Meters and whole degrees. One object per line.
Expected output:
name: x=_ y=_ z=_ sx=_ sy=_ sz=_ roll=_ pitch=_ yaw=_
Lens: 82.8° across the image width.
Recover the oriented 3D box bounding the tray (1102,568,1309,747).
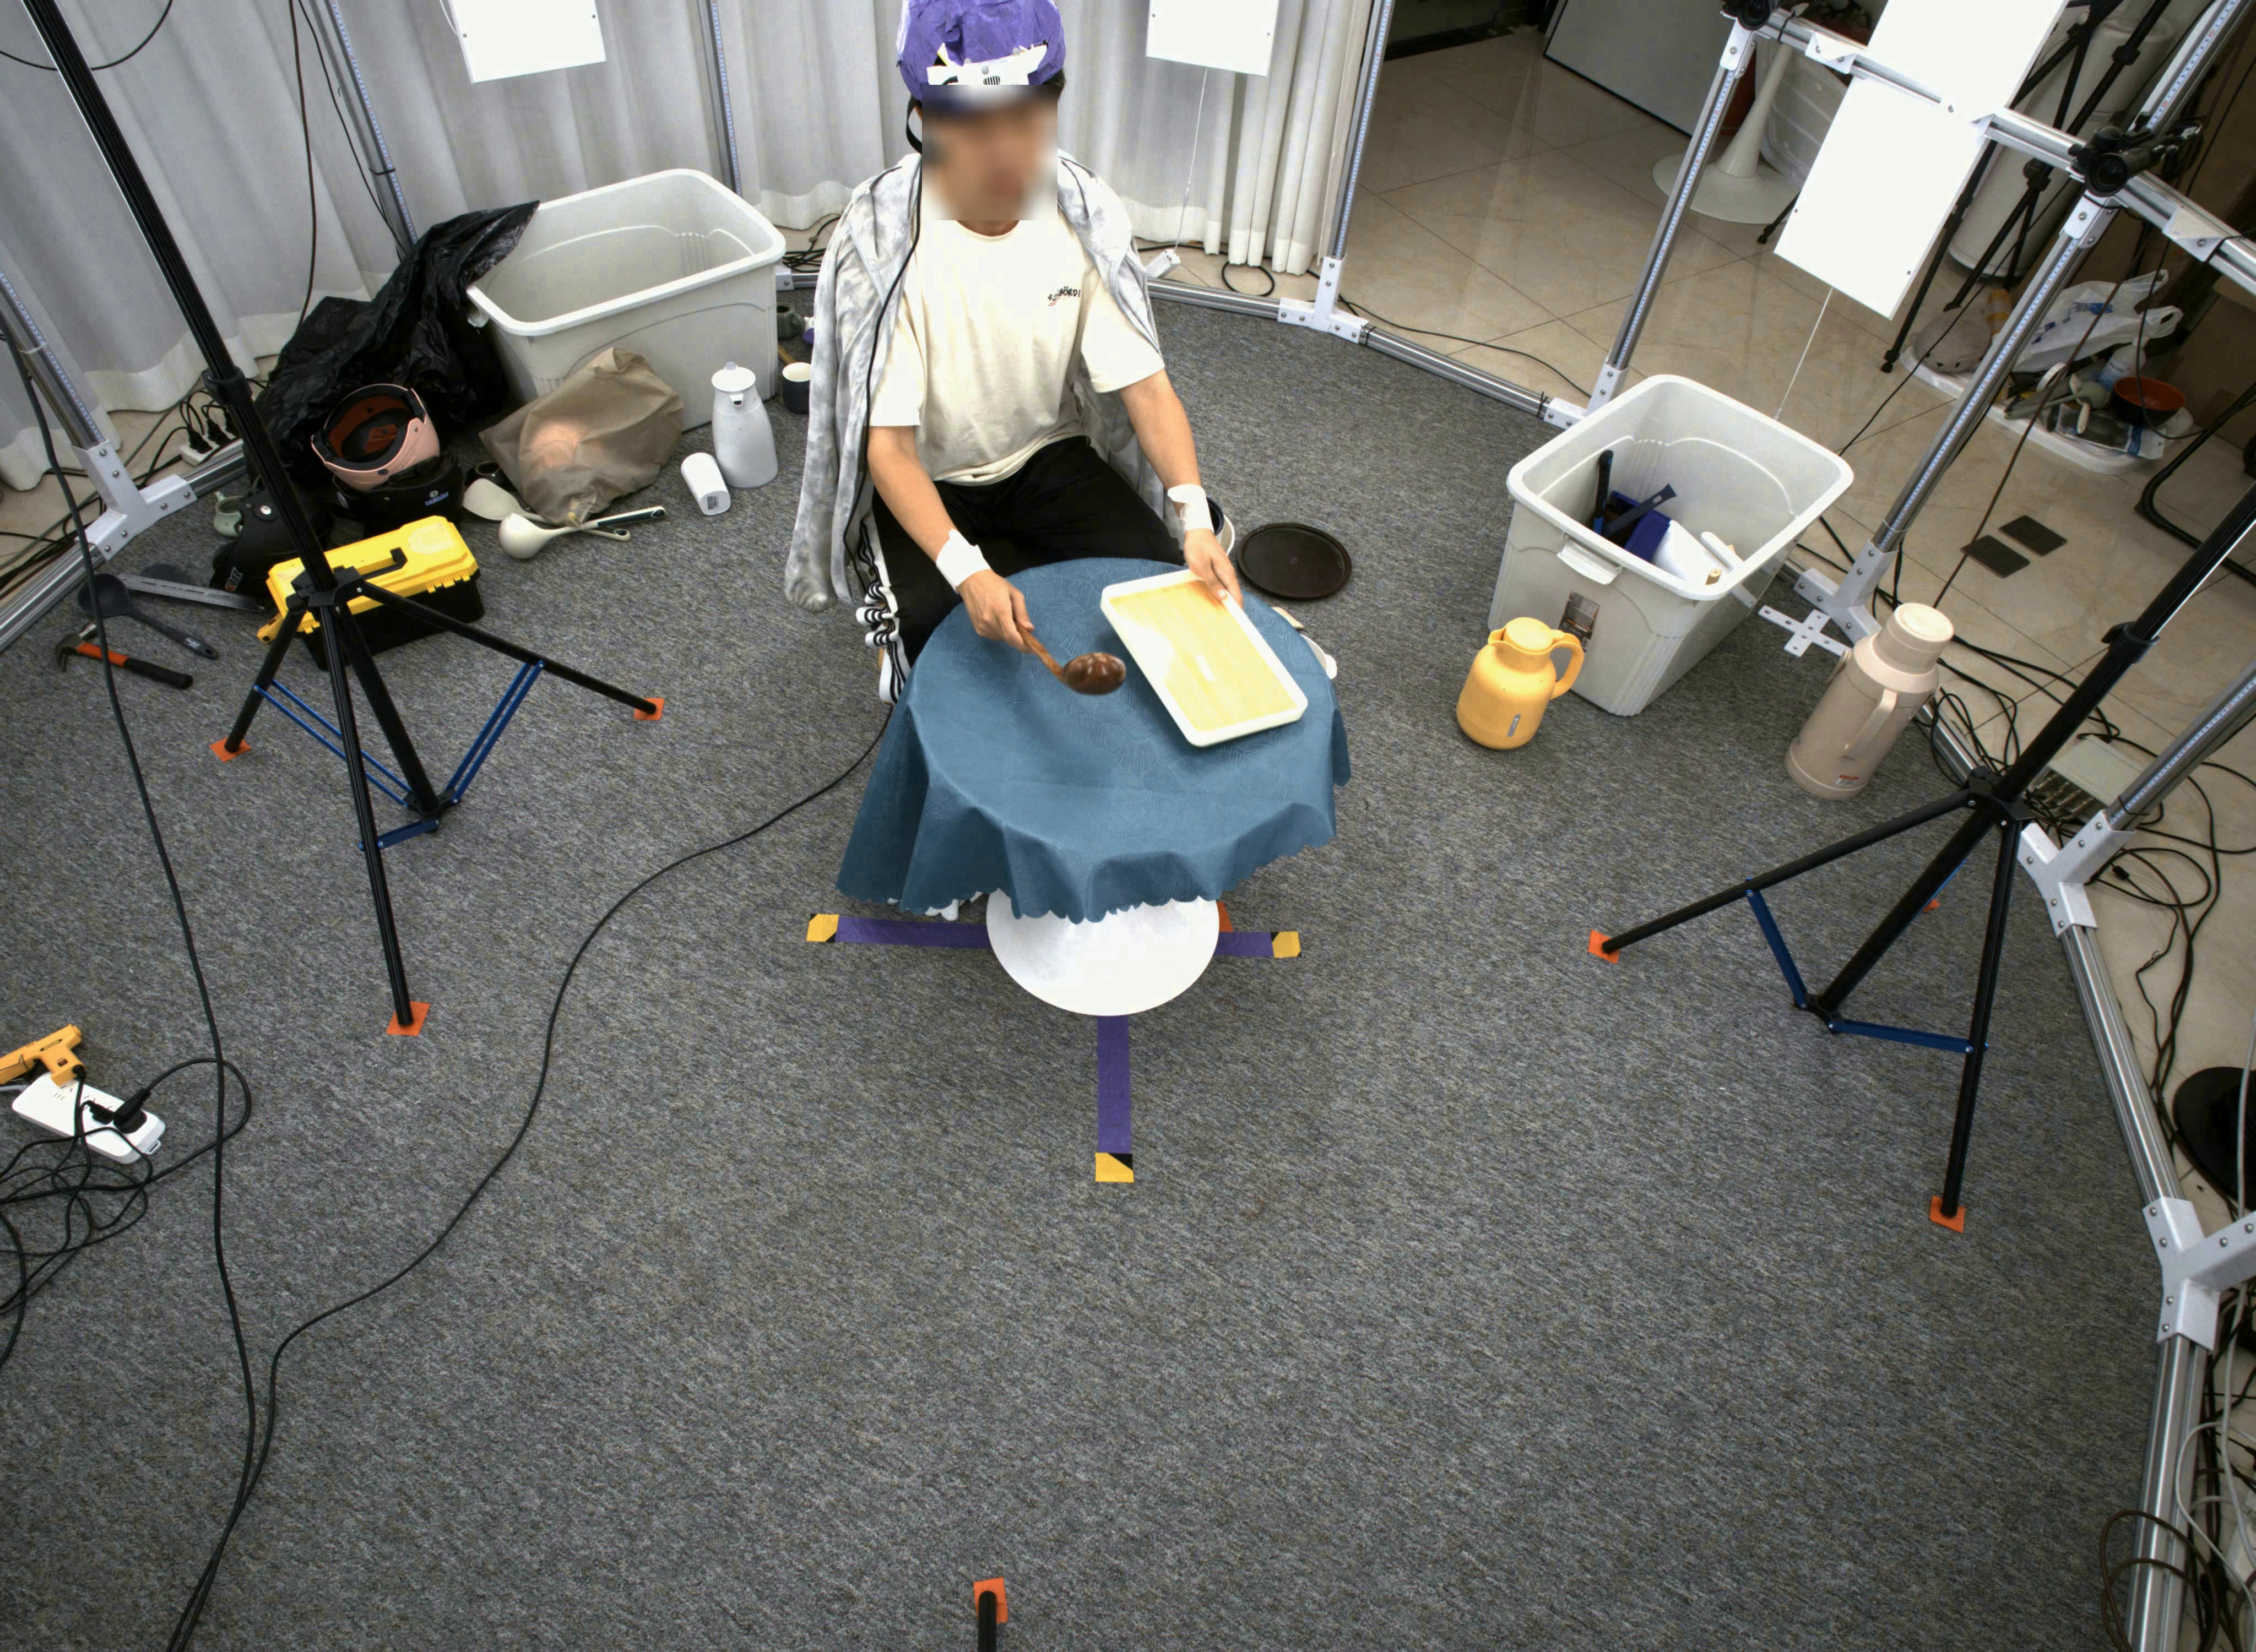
tray: x=0.107 y=-0.247 z=1.835 sx=0.192 sy=0.027 sz=0.306 roll=-16 pitch=57 yaw=-23

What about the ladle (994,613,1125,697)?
ladle: x=-0.099 y=-0.254 z=1.756 sx=0.076 sy=0.080 sz=0.280 roll=-48 pitch=46 yaw=5
